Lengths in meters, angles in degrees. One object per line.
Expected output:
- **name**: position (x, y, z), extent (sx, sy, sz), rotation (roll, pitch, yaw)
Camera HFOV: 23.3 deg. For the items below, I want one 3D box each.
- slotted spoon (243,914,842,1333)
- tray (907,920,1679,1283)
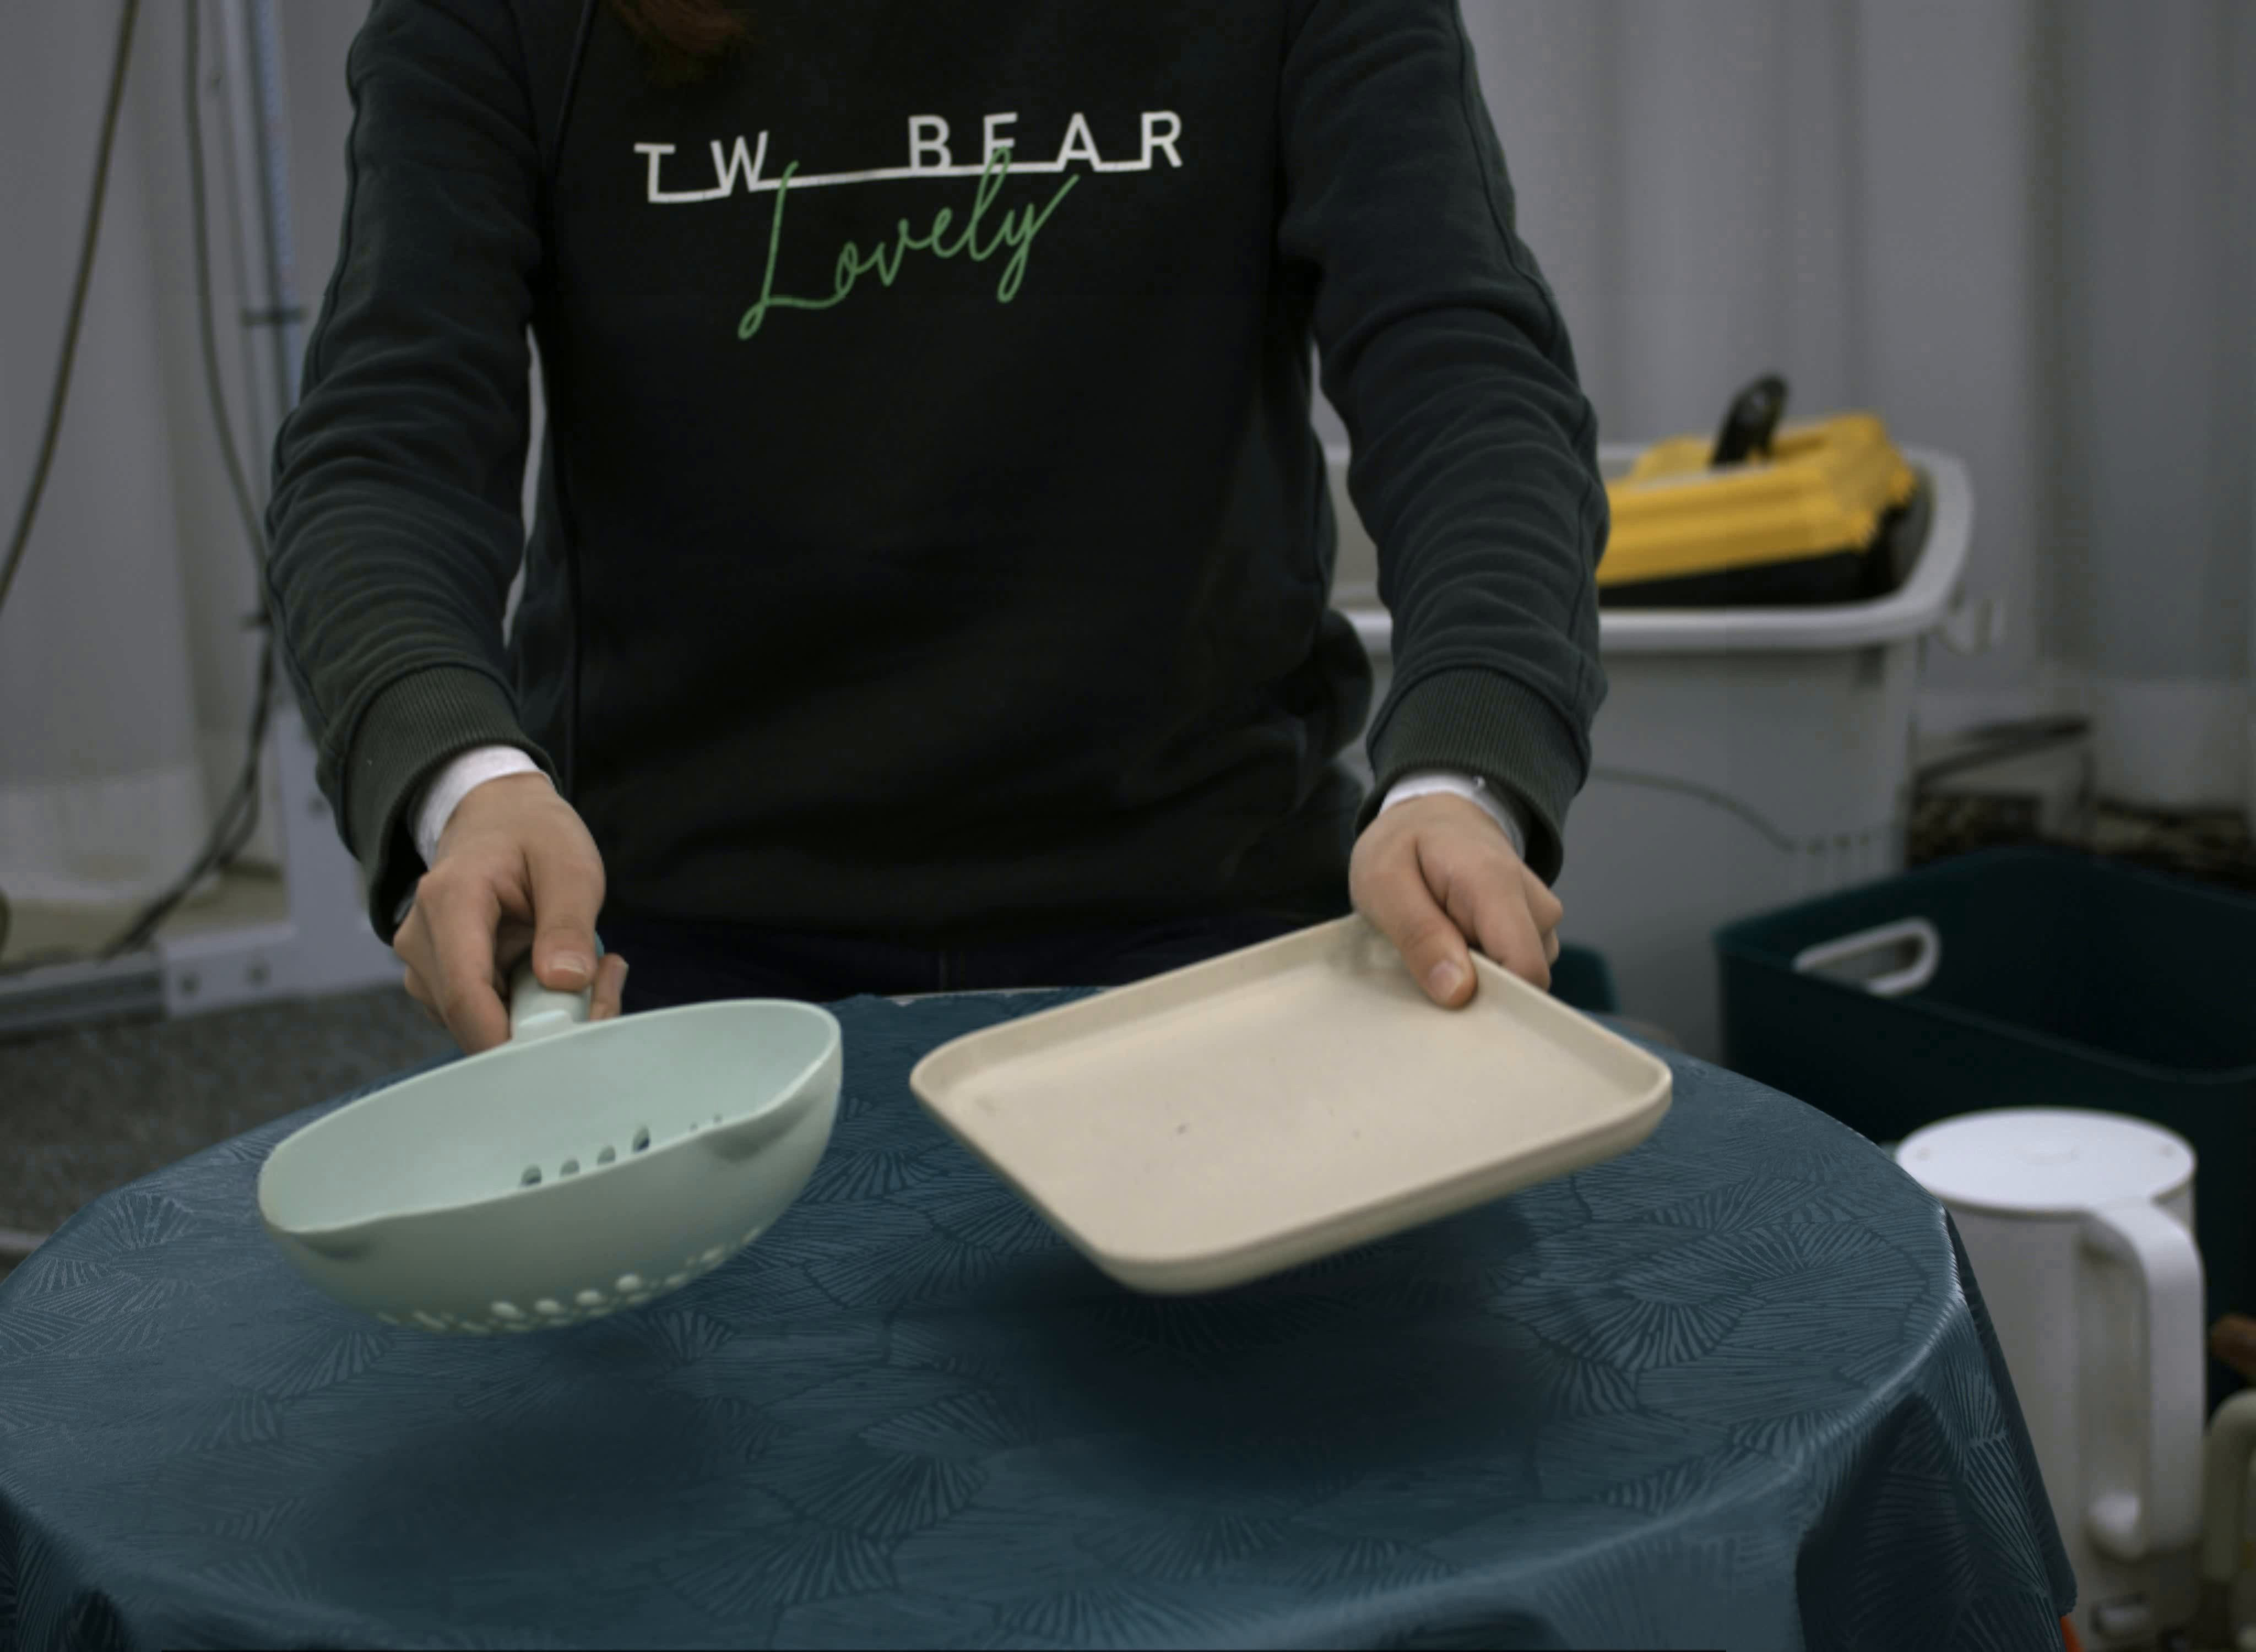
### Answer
- **slotted spoon**: position (-0.166, 0.069, 1.592), extent (0.169, 0.075, 0.362), rotation (-14, 19, -3)
- **tray**: position (0.044, 0.077, 1.562), extent (0.171, 0.017, 0.241), rotation (-17, 15, -15)
